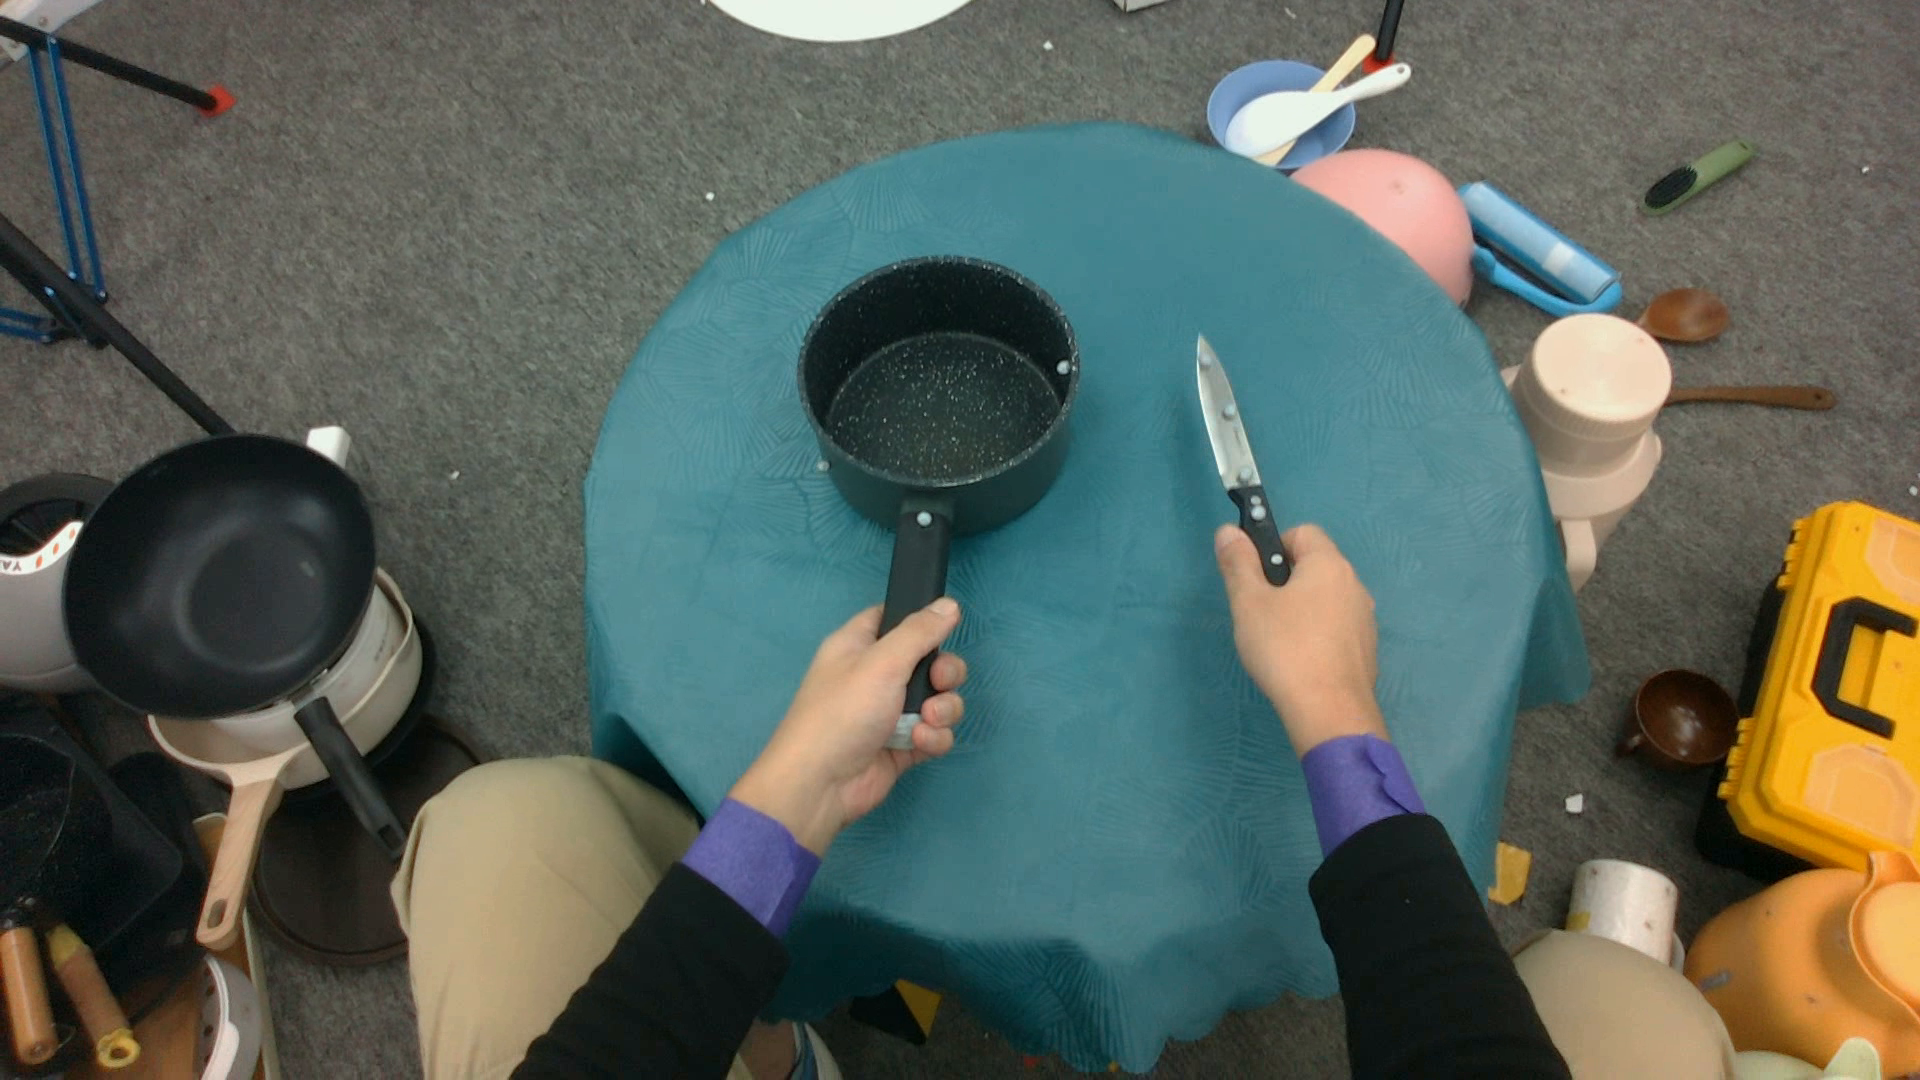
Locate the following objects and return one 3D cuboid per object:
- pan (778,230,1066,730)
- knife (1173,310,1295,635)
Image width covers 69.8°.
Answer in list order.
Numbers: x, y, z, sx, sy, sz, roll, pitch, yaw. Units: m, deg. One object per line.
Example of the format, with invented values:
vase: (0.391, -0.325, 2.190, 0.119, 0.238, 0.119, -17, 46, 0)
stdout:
pan: (-0.030, -0.033, 0.814, 0.172, 0.086, 0.330, 5, 61, 6)
knife: (0.158, -0.049, 0.811, 0.024, 0.016, 0.239, -9, 56, -1)
